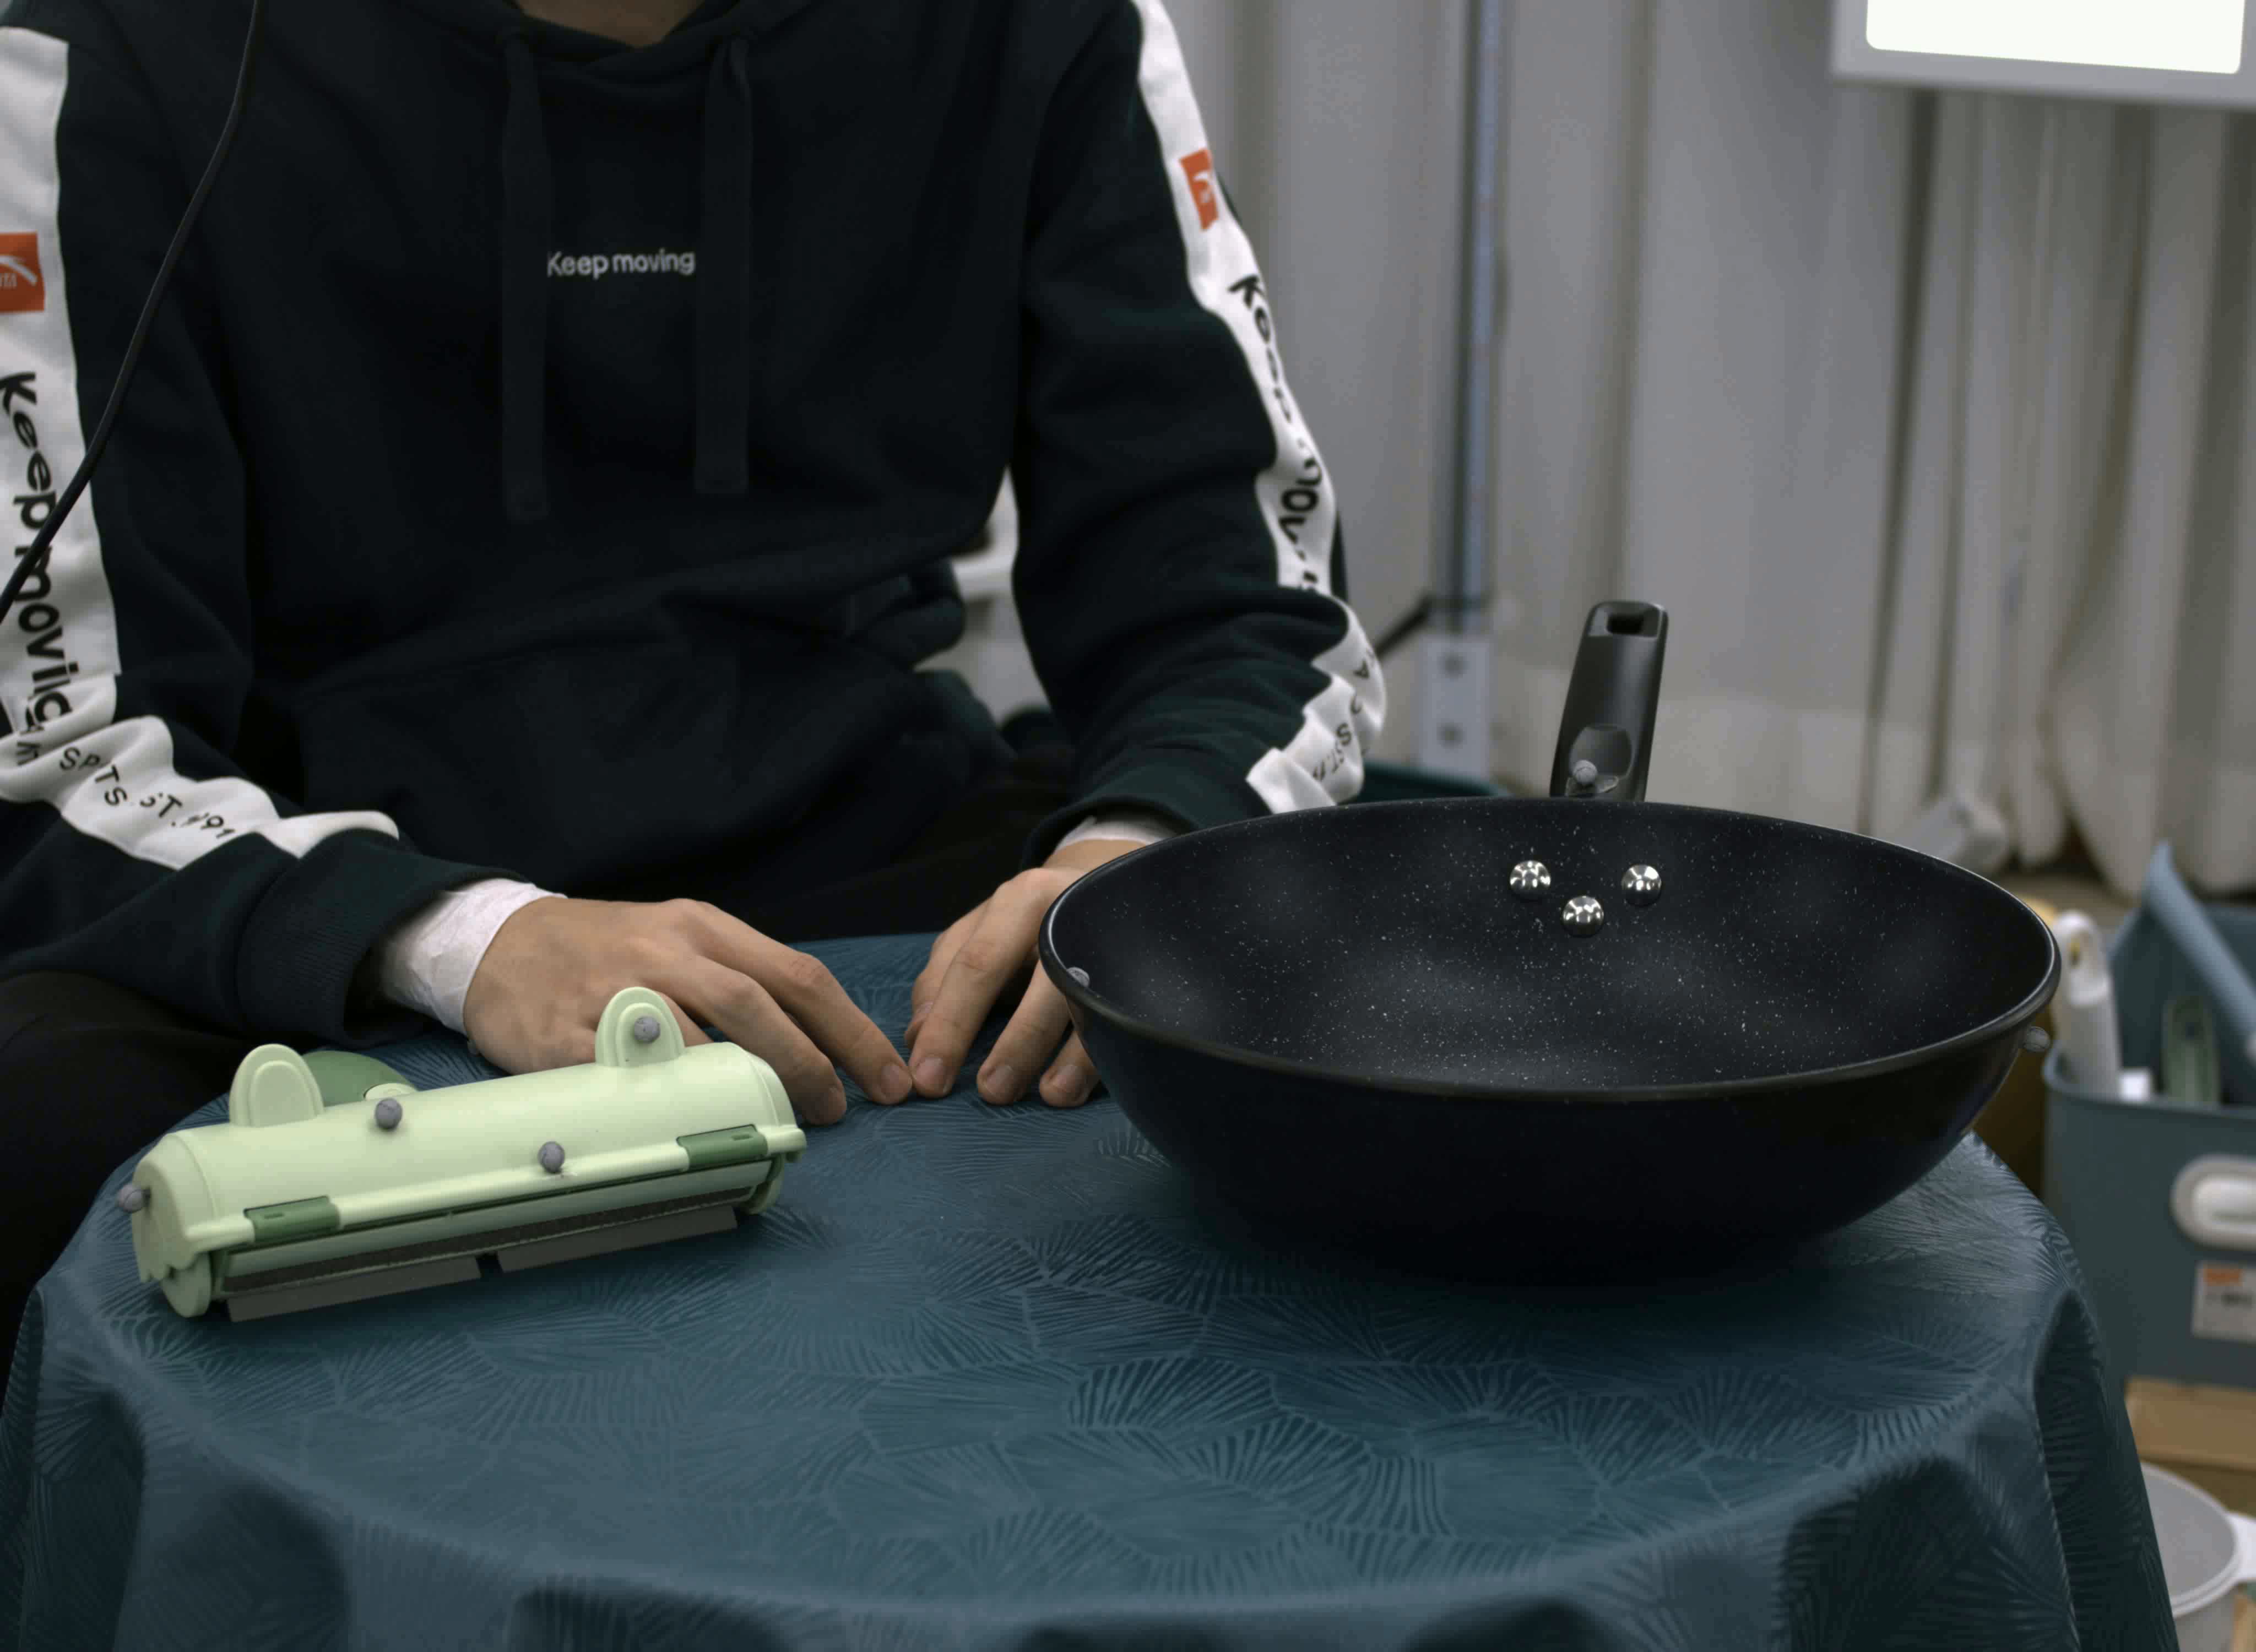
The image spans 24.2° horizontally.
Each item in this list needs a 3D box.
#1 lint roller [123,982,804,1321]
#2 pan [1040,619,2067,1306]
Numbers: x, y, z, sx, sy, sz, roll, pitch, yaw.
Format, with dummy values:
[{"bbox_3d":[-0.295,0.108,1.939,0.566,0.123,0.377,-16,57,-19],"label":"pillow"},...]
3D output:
[{"bbox_3d":[-0.221,0.079,1.590,0.199,0.083,0.181,-9,23,-29],"label":"lint roller"},{"bbox_3d":[0.140,0.043,1.676,0.308,0.112,0.475,4,16,8],"label":"pan"}]
